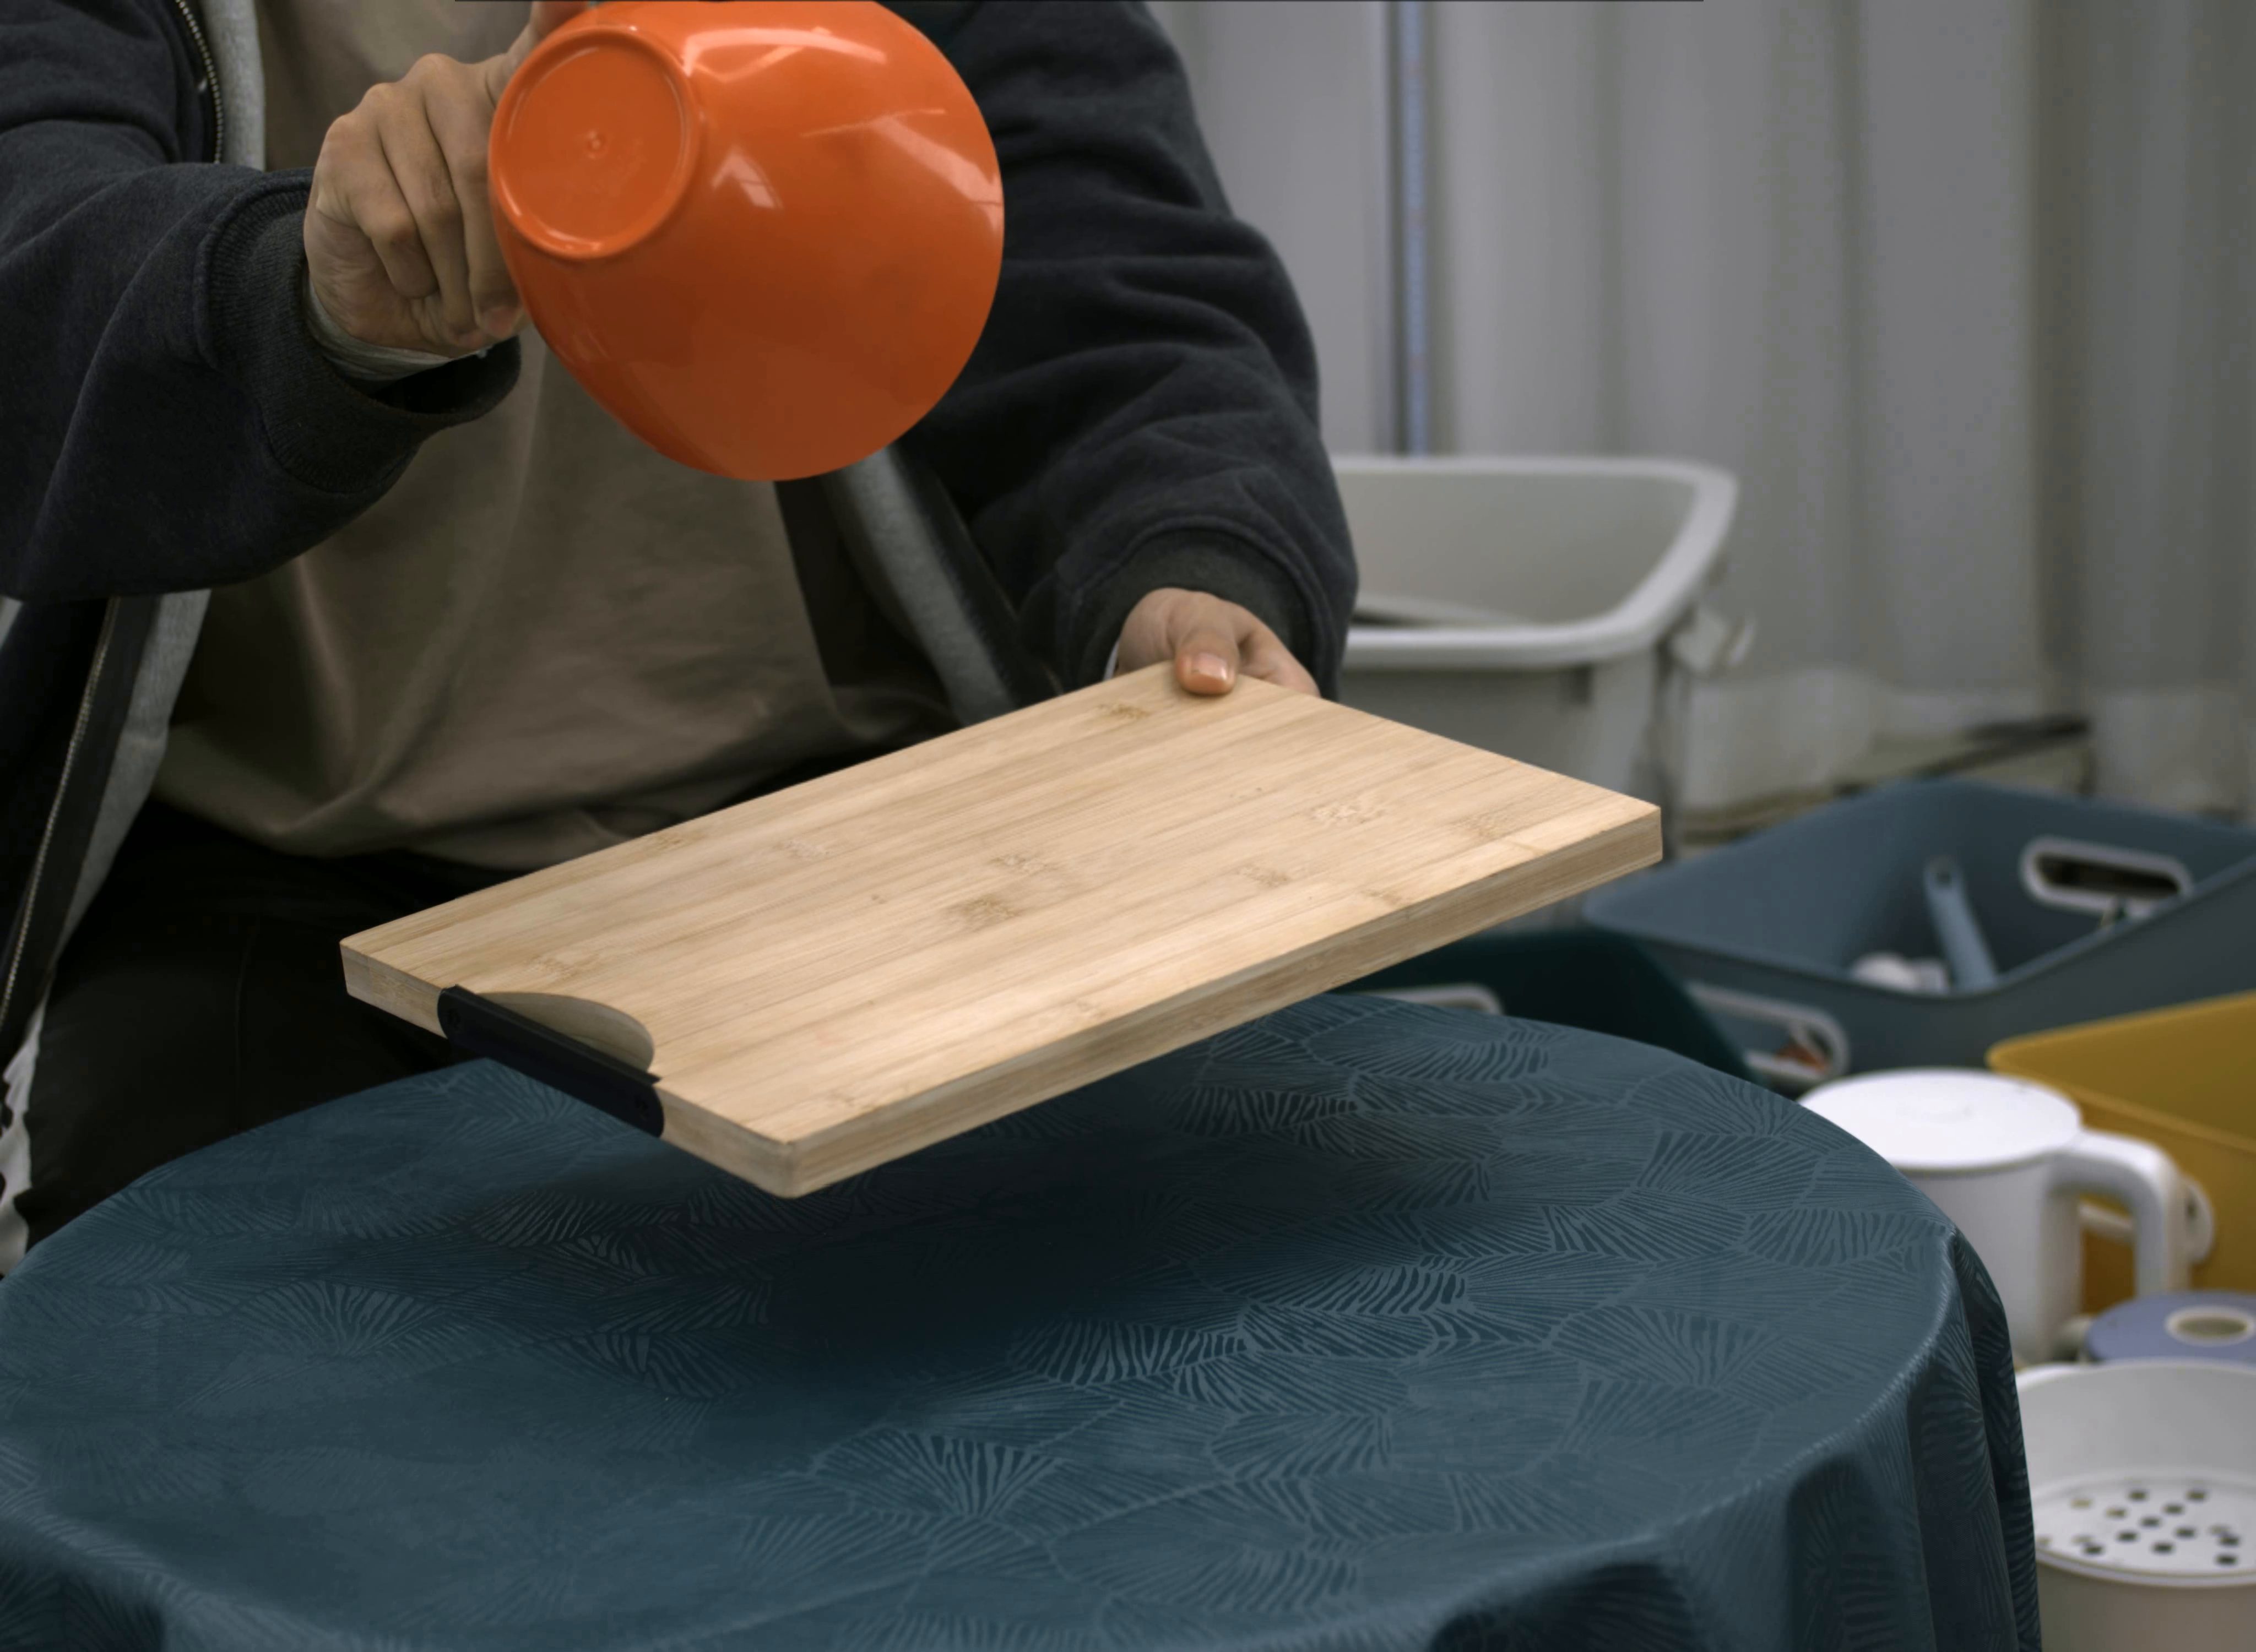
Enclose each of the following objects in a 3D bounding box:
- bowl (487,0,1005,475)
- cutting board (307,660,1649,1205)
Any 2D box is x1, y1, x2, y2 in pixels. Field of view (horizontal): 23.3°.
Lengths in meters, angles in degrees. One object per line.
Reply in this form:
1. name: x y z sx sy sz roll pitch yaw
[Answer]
1. bowl: -0.122 -0.181 1.575 0.148 0.149 0.104 5 -4 26
2. cutting board: -0.043 0.025 1.695 0.348 0.023 0.252 -20 24 -35
